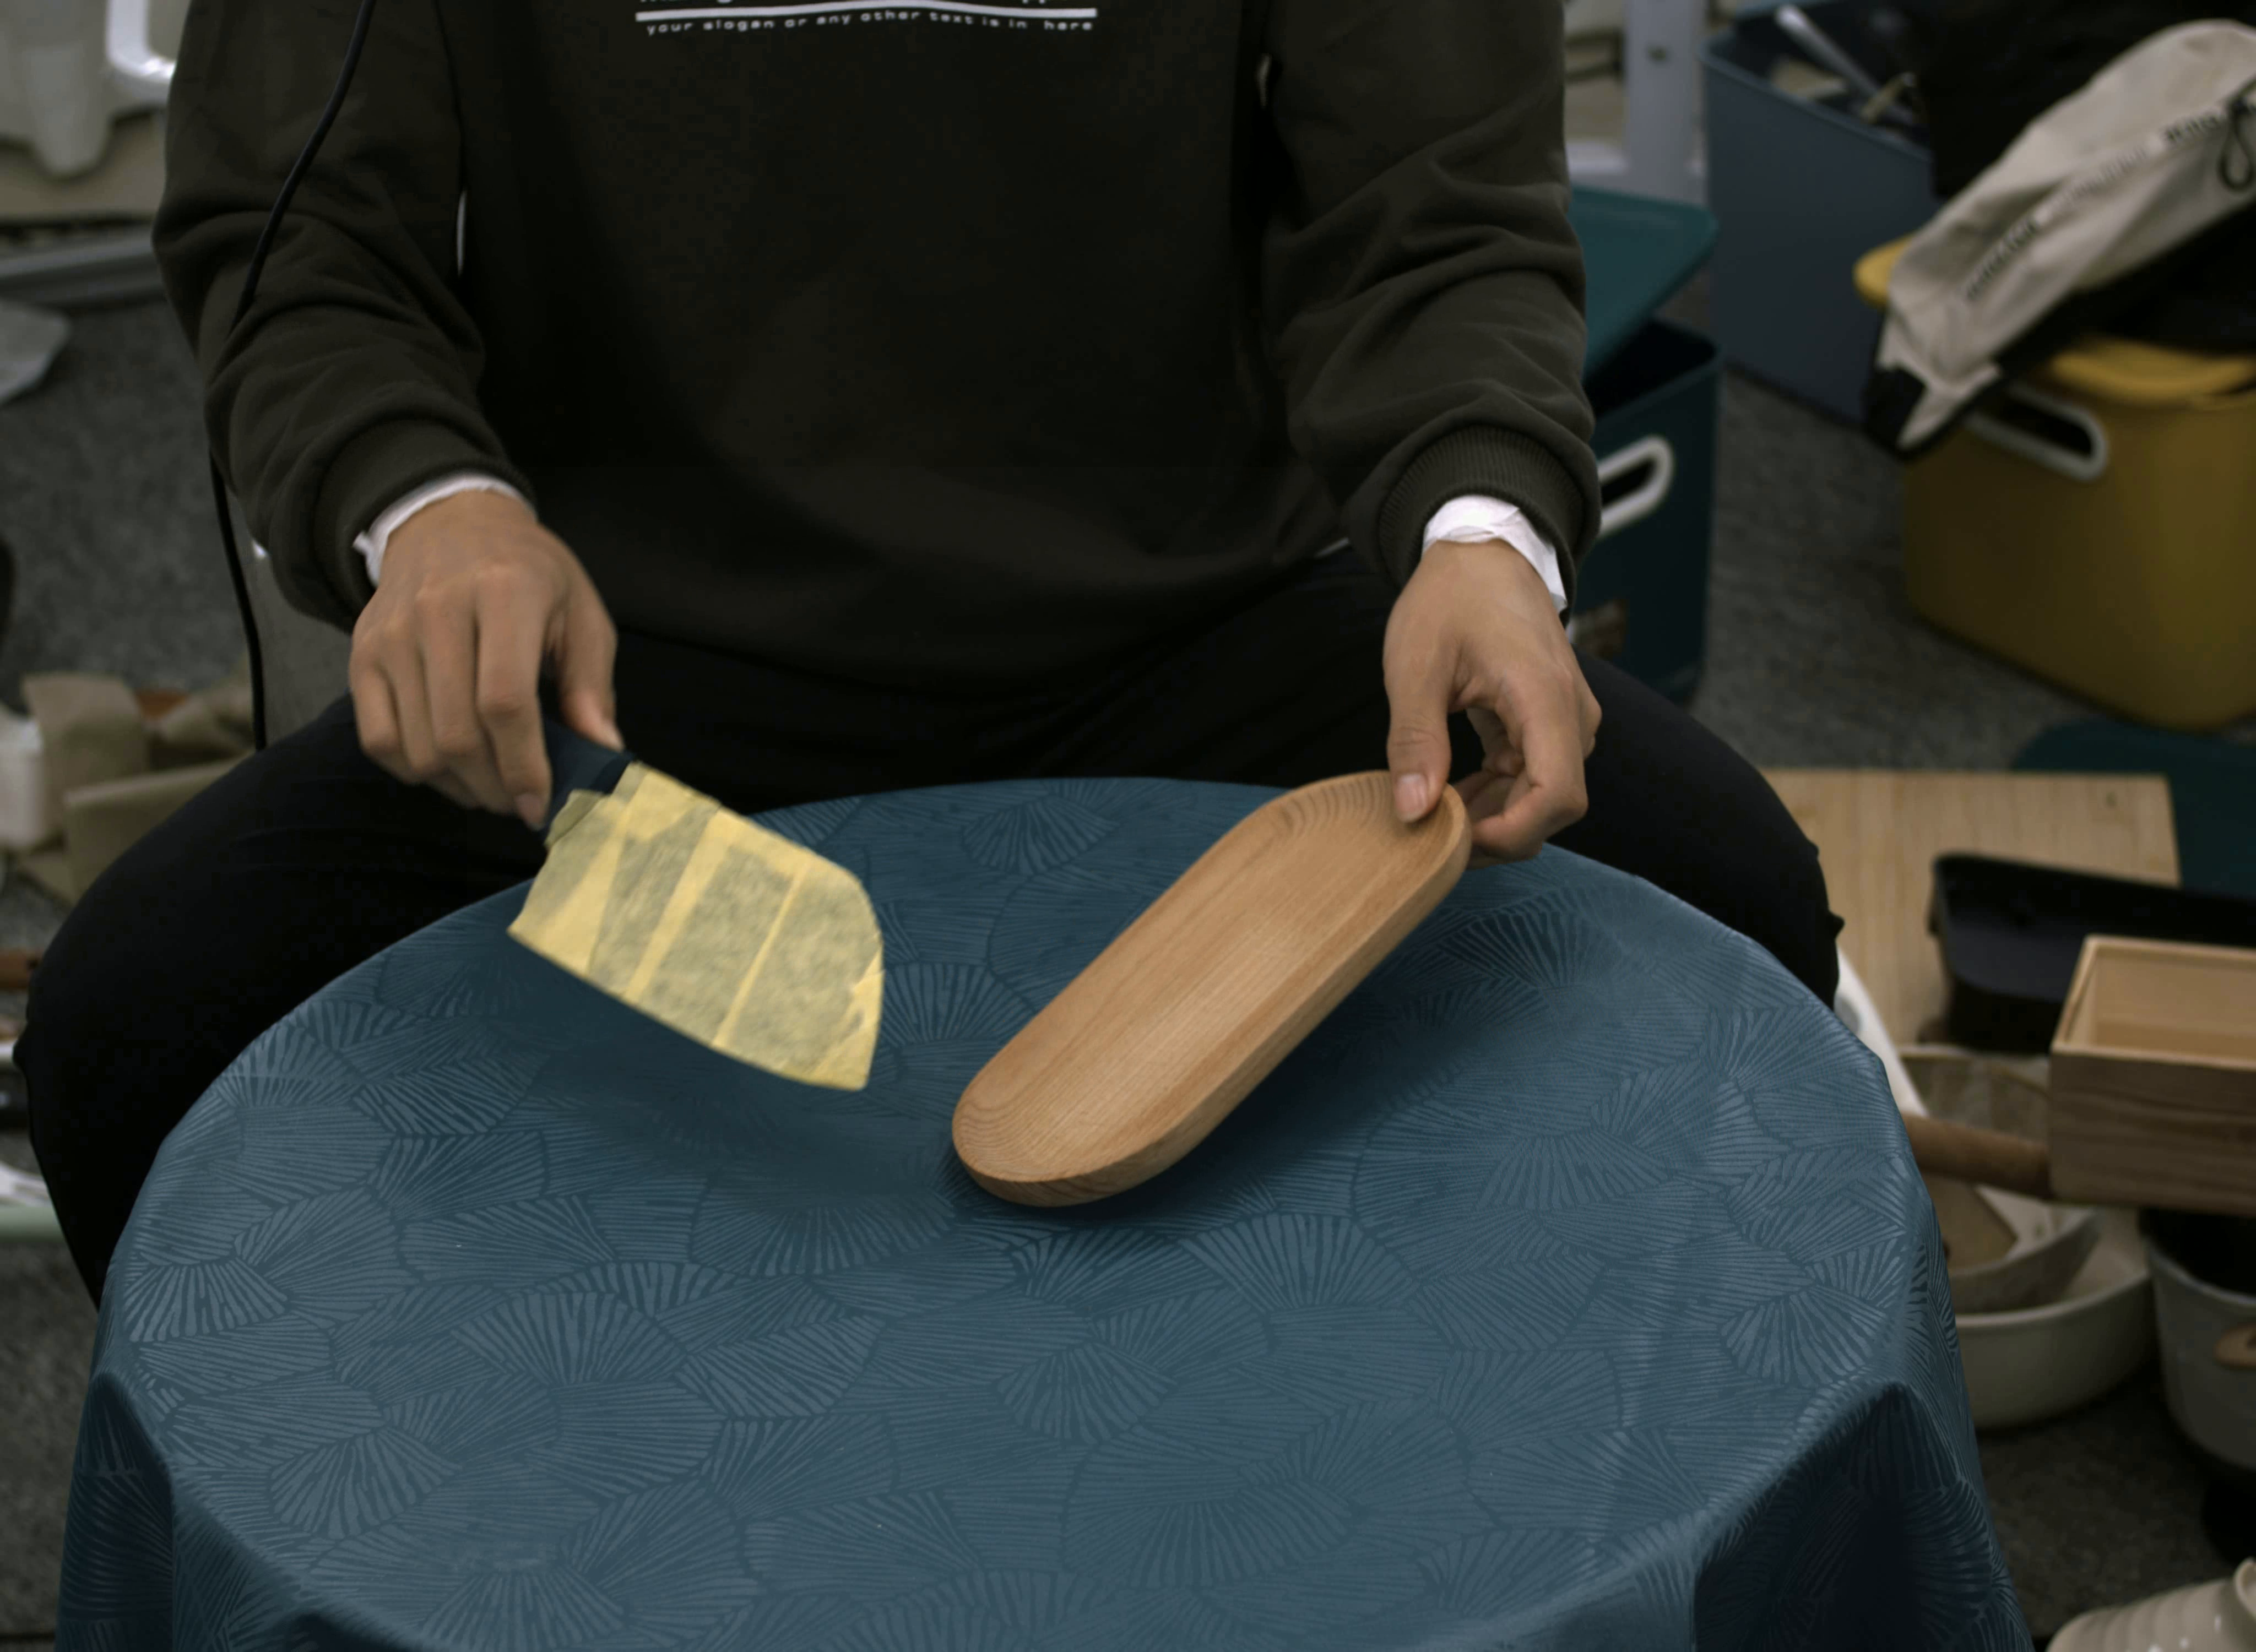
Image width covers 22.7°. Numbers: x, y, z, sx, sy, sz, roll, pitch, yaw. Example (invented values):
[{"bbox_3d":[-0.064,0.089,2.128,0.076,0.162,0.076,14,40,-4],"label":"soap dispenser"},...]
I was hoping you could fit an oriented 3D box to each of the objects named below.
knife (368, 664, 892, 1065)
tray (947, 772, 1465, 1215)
[{"bbox_3d":[-0.174,0.010,1.906,0.290,0.081,0.027,29,-3,41],"label":"knife"},{"bbox_3d":[0.029,0.055,1.908,0.101,0.020,0.235,7,42,44],"label":"tray"}]
